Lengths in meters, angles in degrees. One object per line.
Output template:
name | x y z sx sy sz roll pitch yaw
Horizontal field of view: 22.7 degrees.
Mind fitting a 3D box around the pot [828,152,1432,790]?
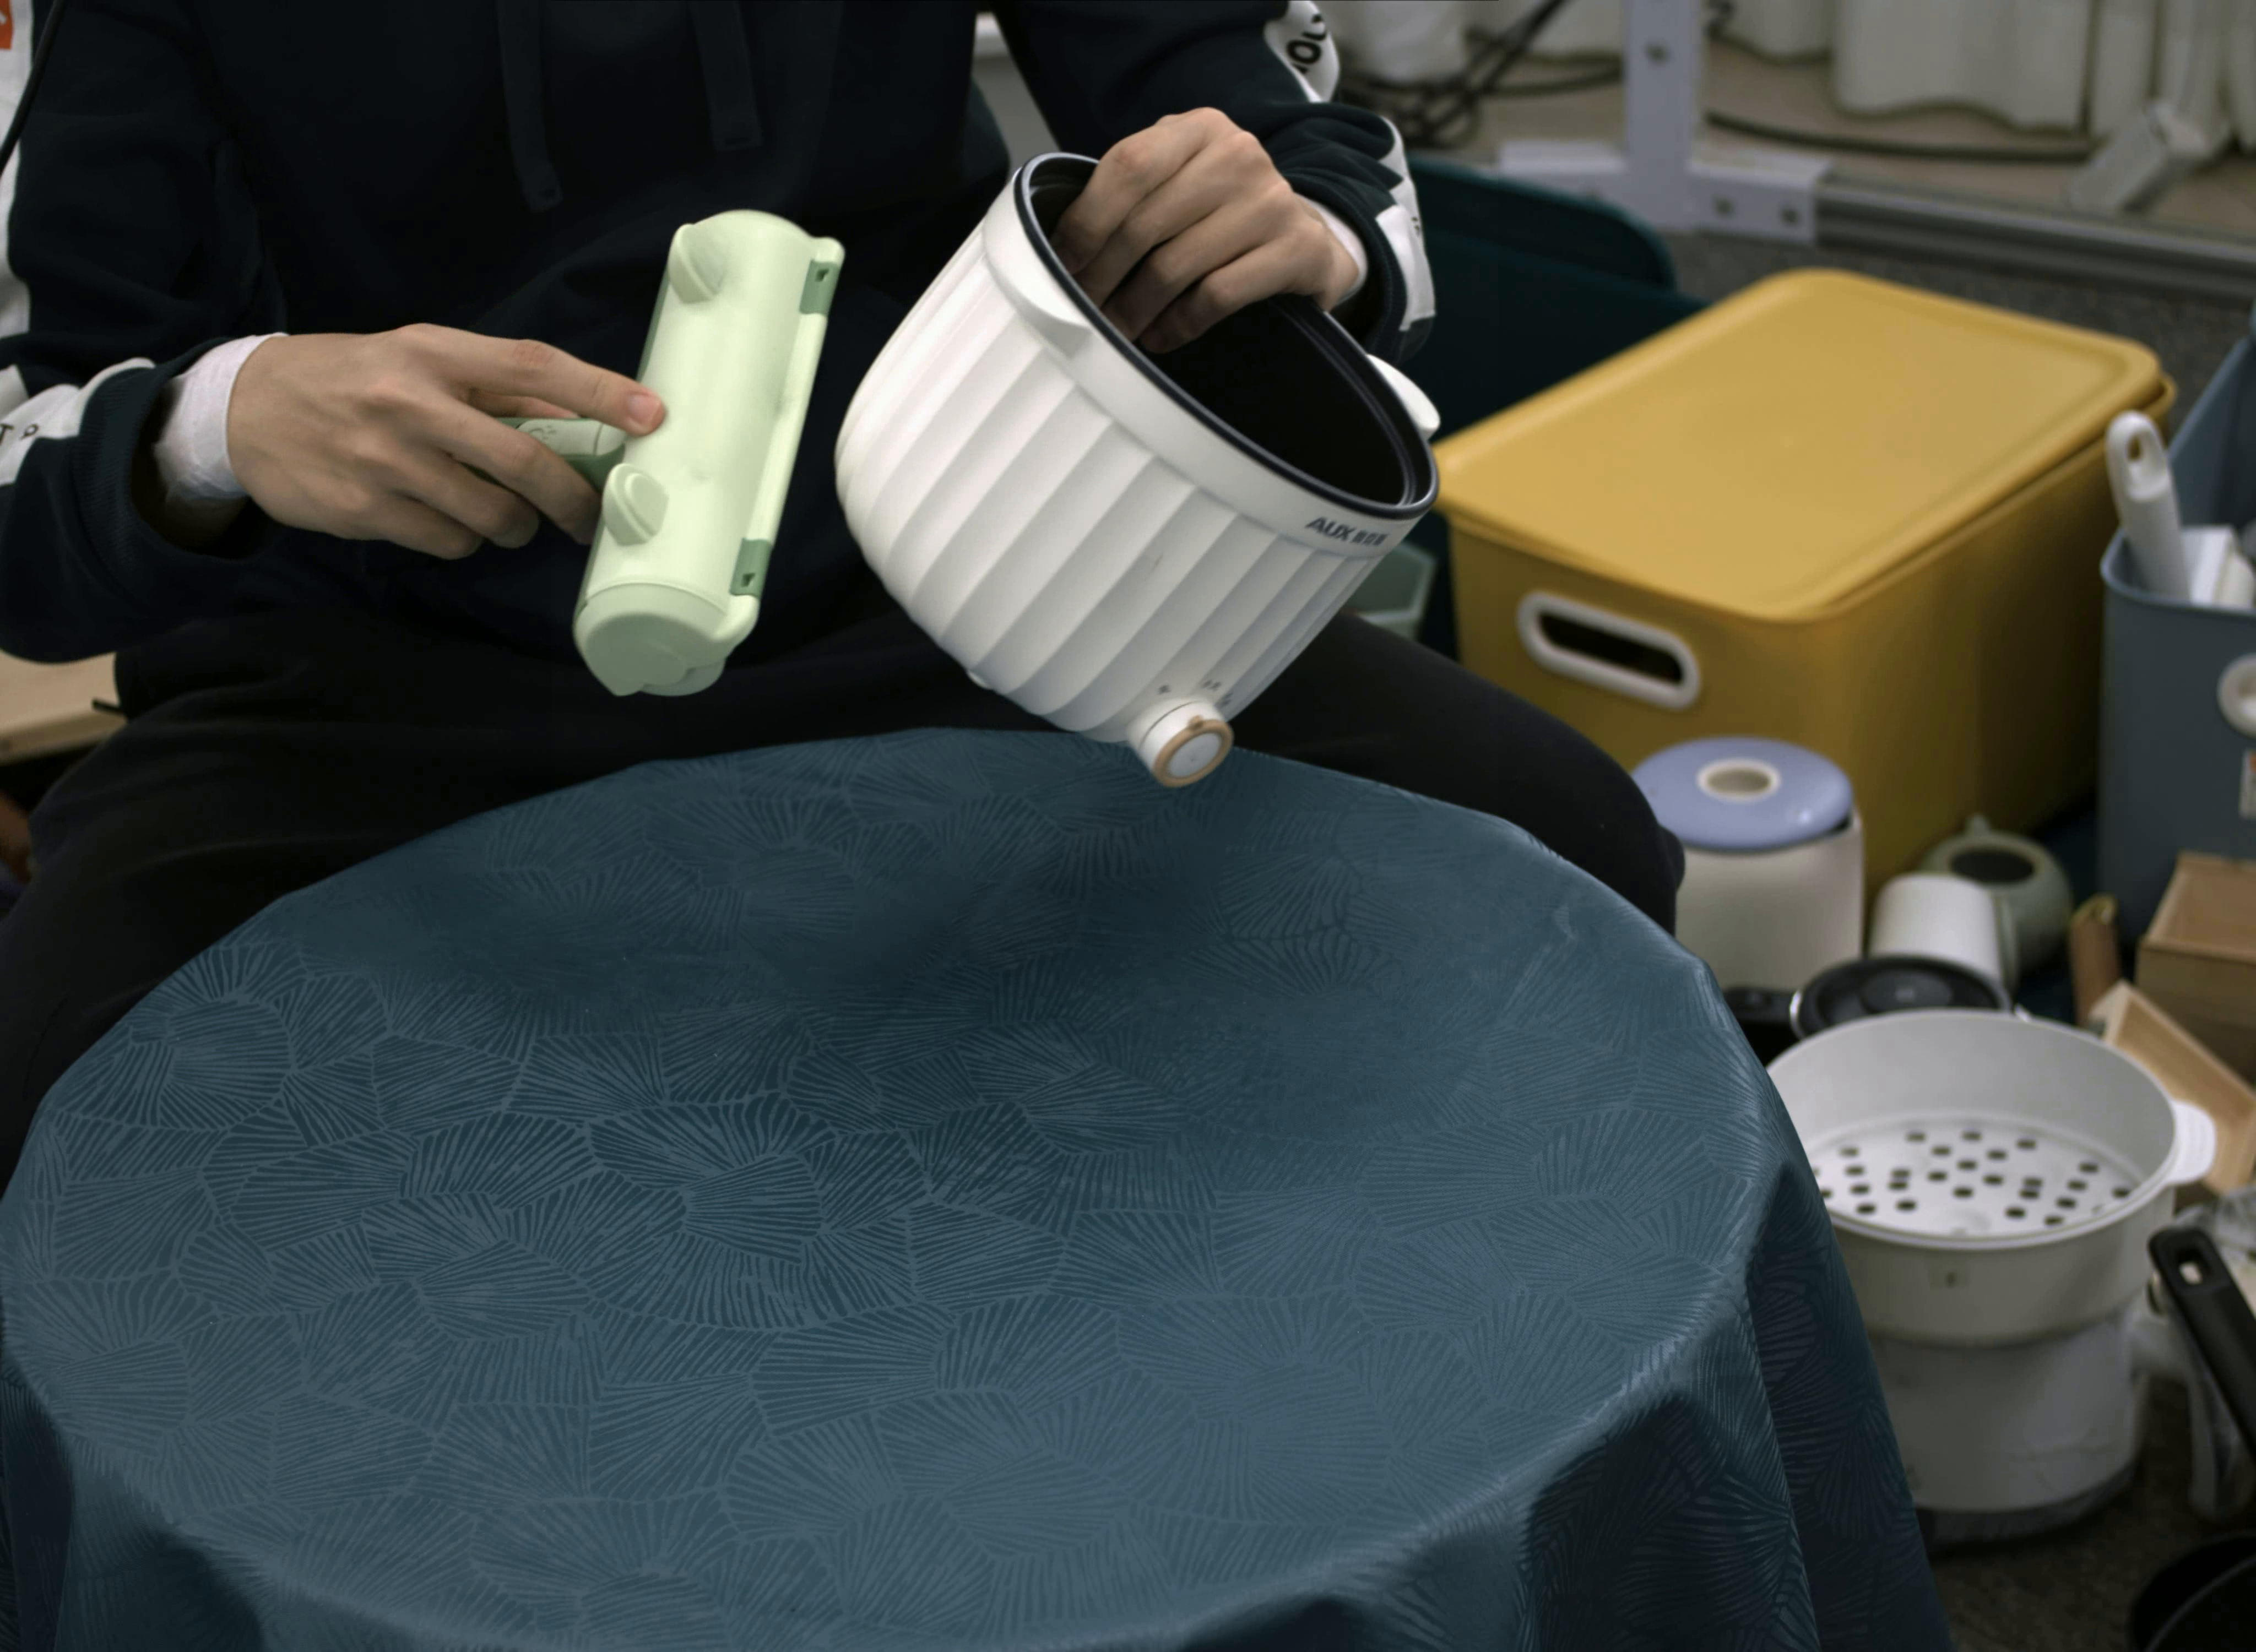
pot | -0.004 -0.117 1.936 0.241 0.141 0.192 10 34 -51

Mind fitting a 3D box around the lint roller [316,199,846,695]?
lint roller | -0.201 -0.139 1.958 0.182 0.081 0.203 2 50 9
